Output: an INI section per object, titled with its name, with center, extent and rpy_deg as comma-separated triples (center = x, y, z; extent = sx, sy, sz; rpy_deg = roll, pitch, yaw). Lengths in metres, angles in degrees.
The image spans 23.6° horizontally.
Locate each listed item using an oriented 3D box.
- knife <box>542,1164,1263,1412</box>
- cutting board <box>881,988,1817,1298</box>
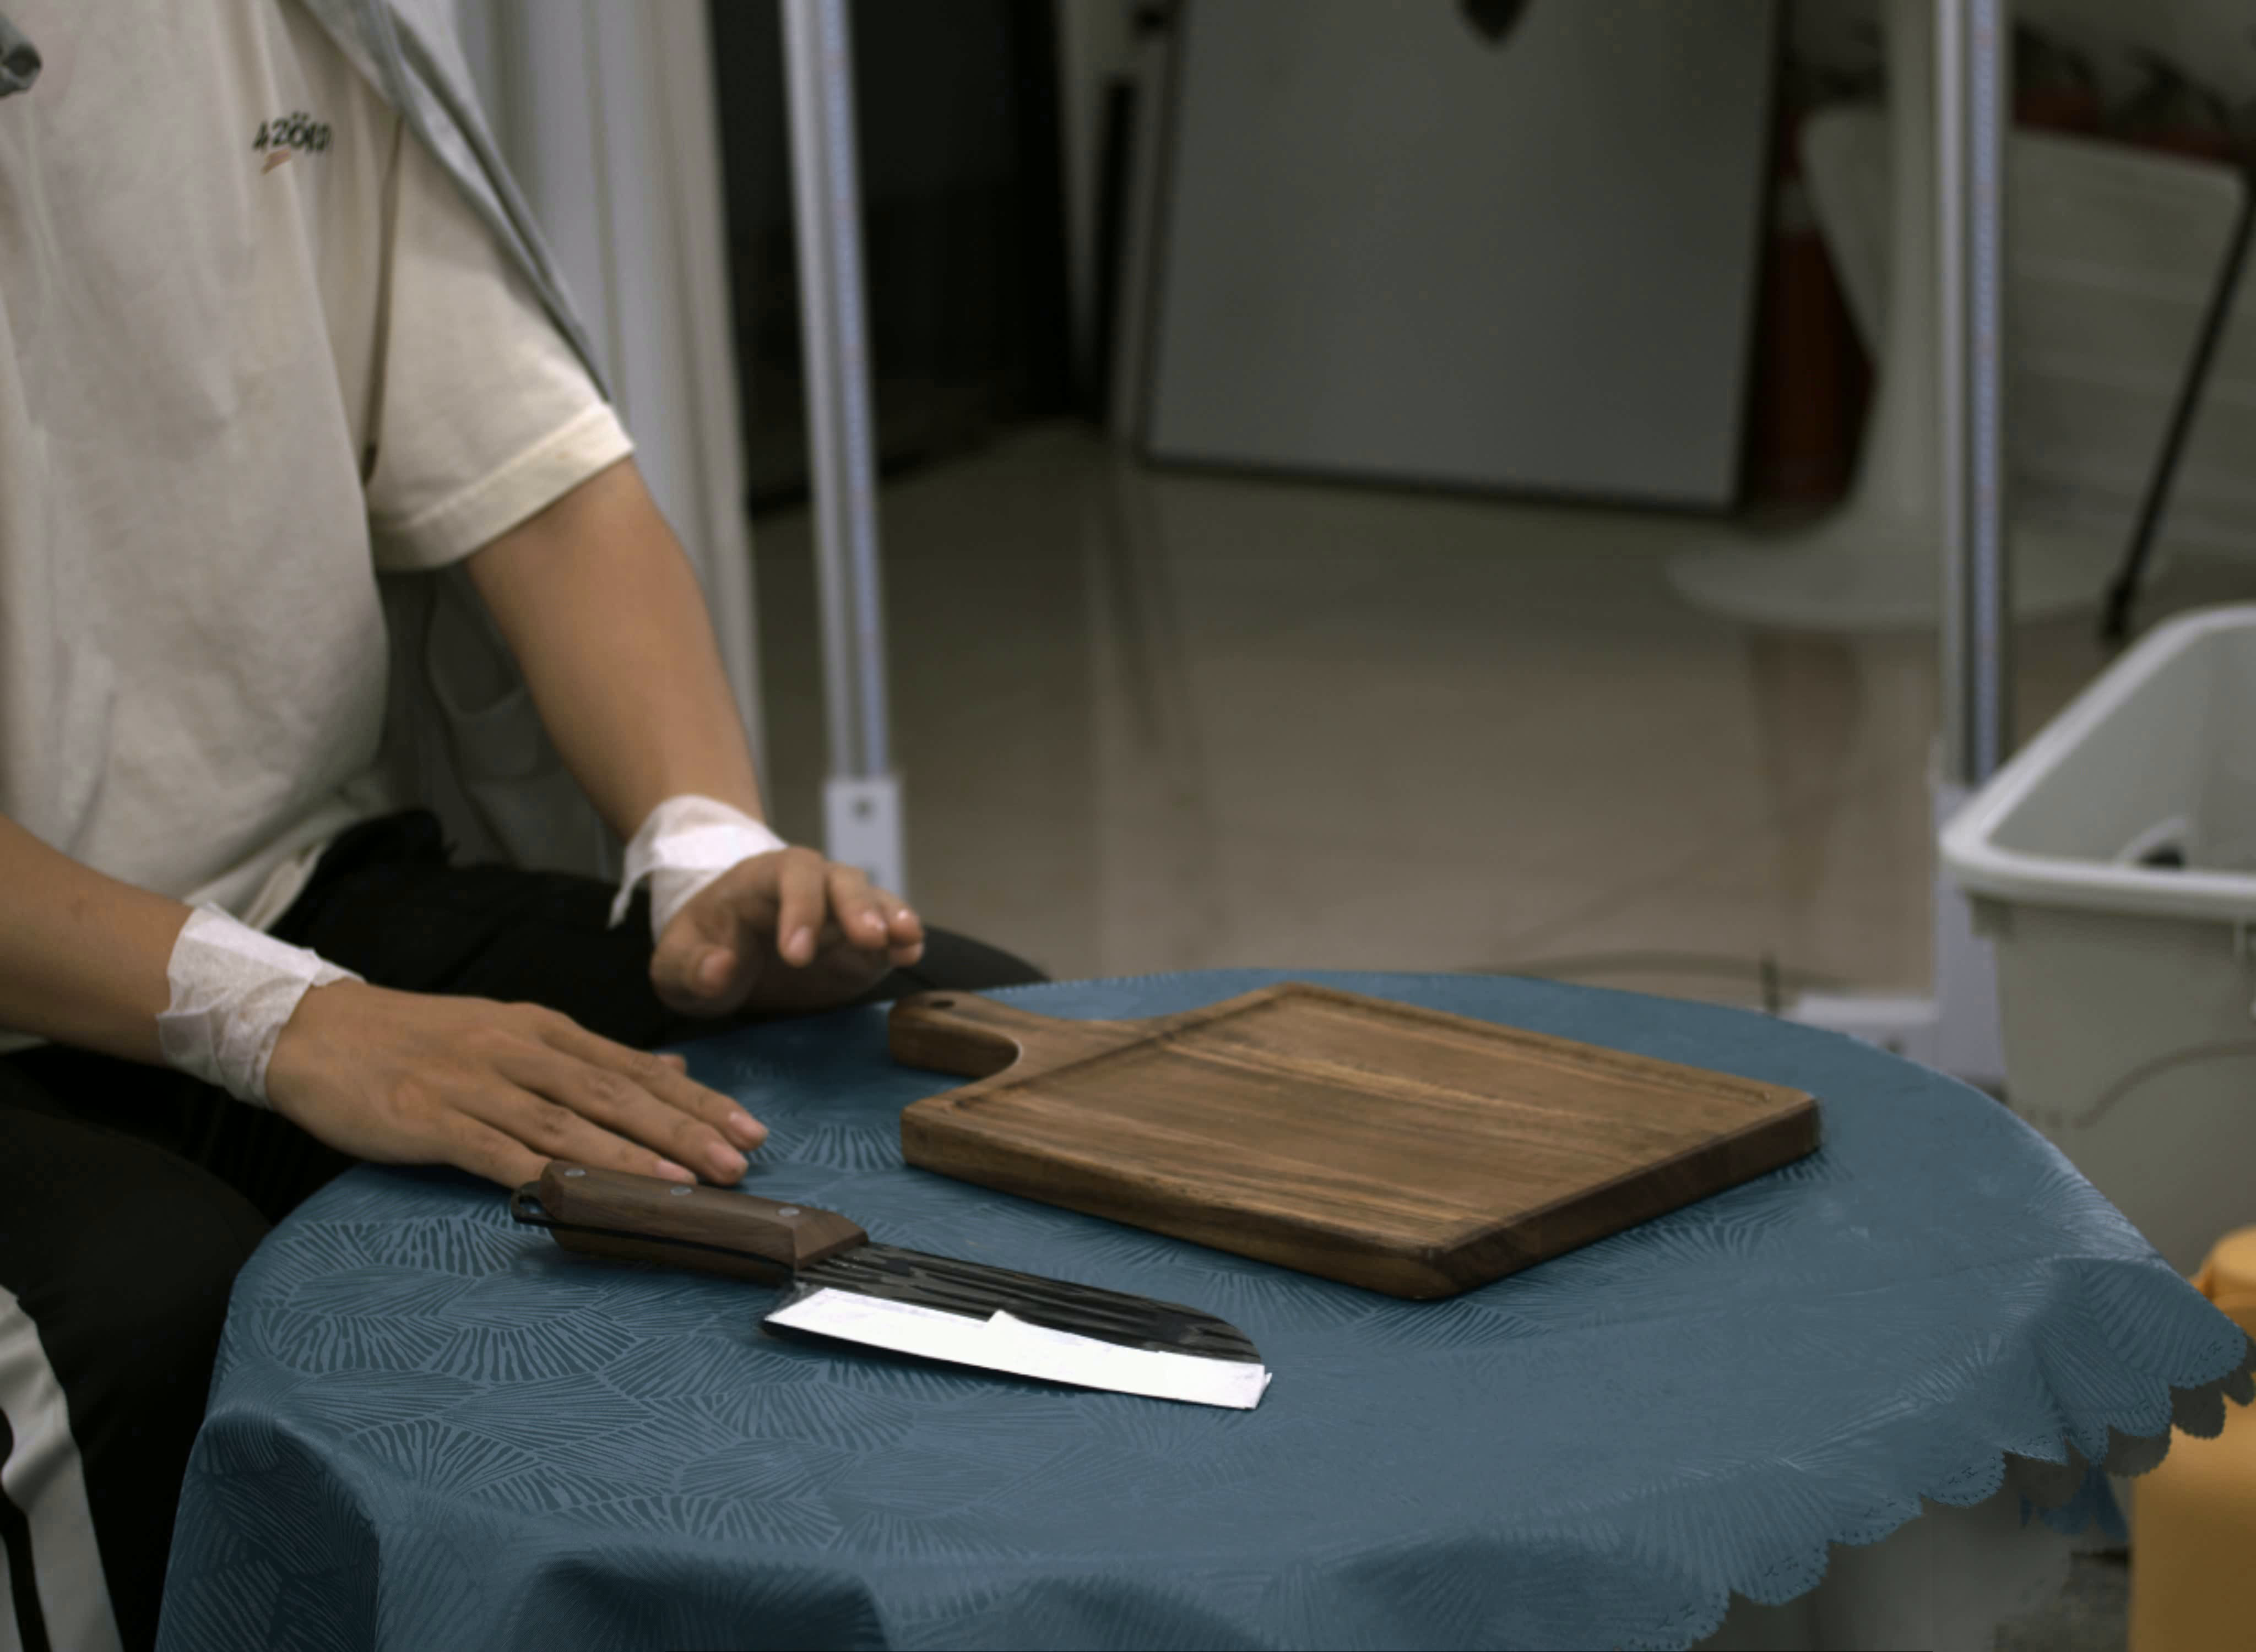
[knife]
center = -0.077, 0.145, 1.664
extent = 0.301, 0.024, 0.067
rpy_deg = 9, 20, 34
[cutting board]
center = 0.041, 0.095, 1.826
extent = 0.197, 0.023, 0.355
rpy_deg = -16, 18, -41
